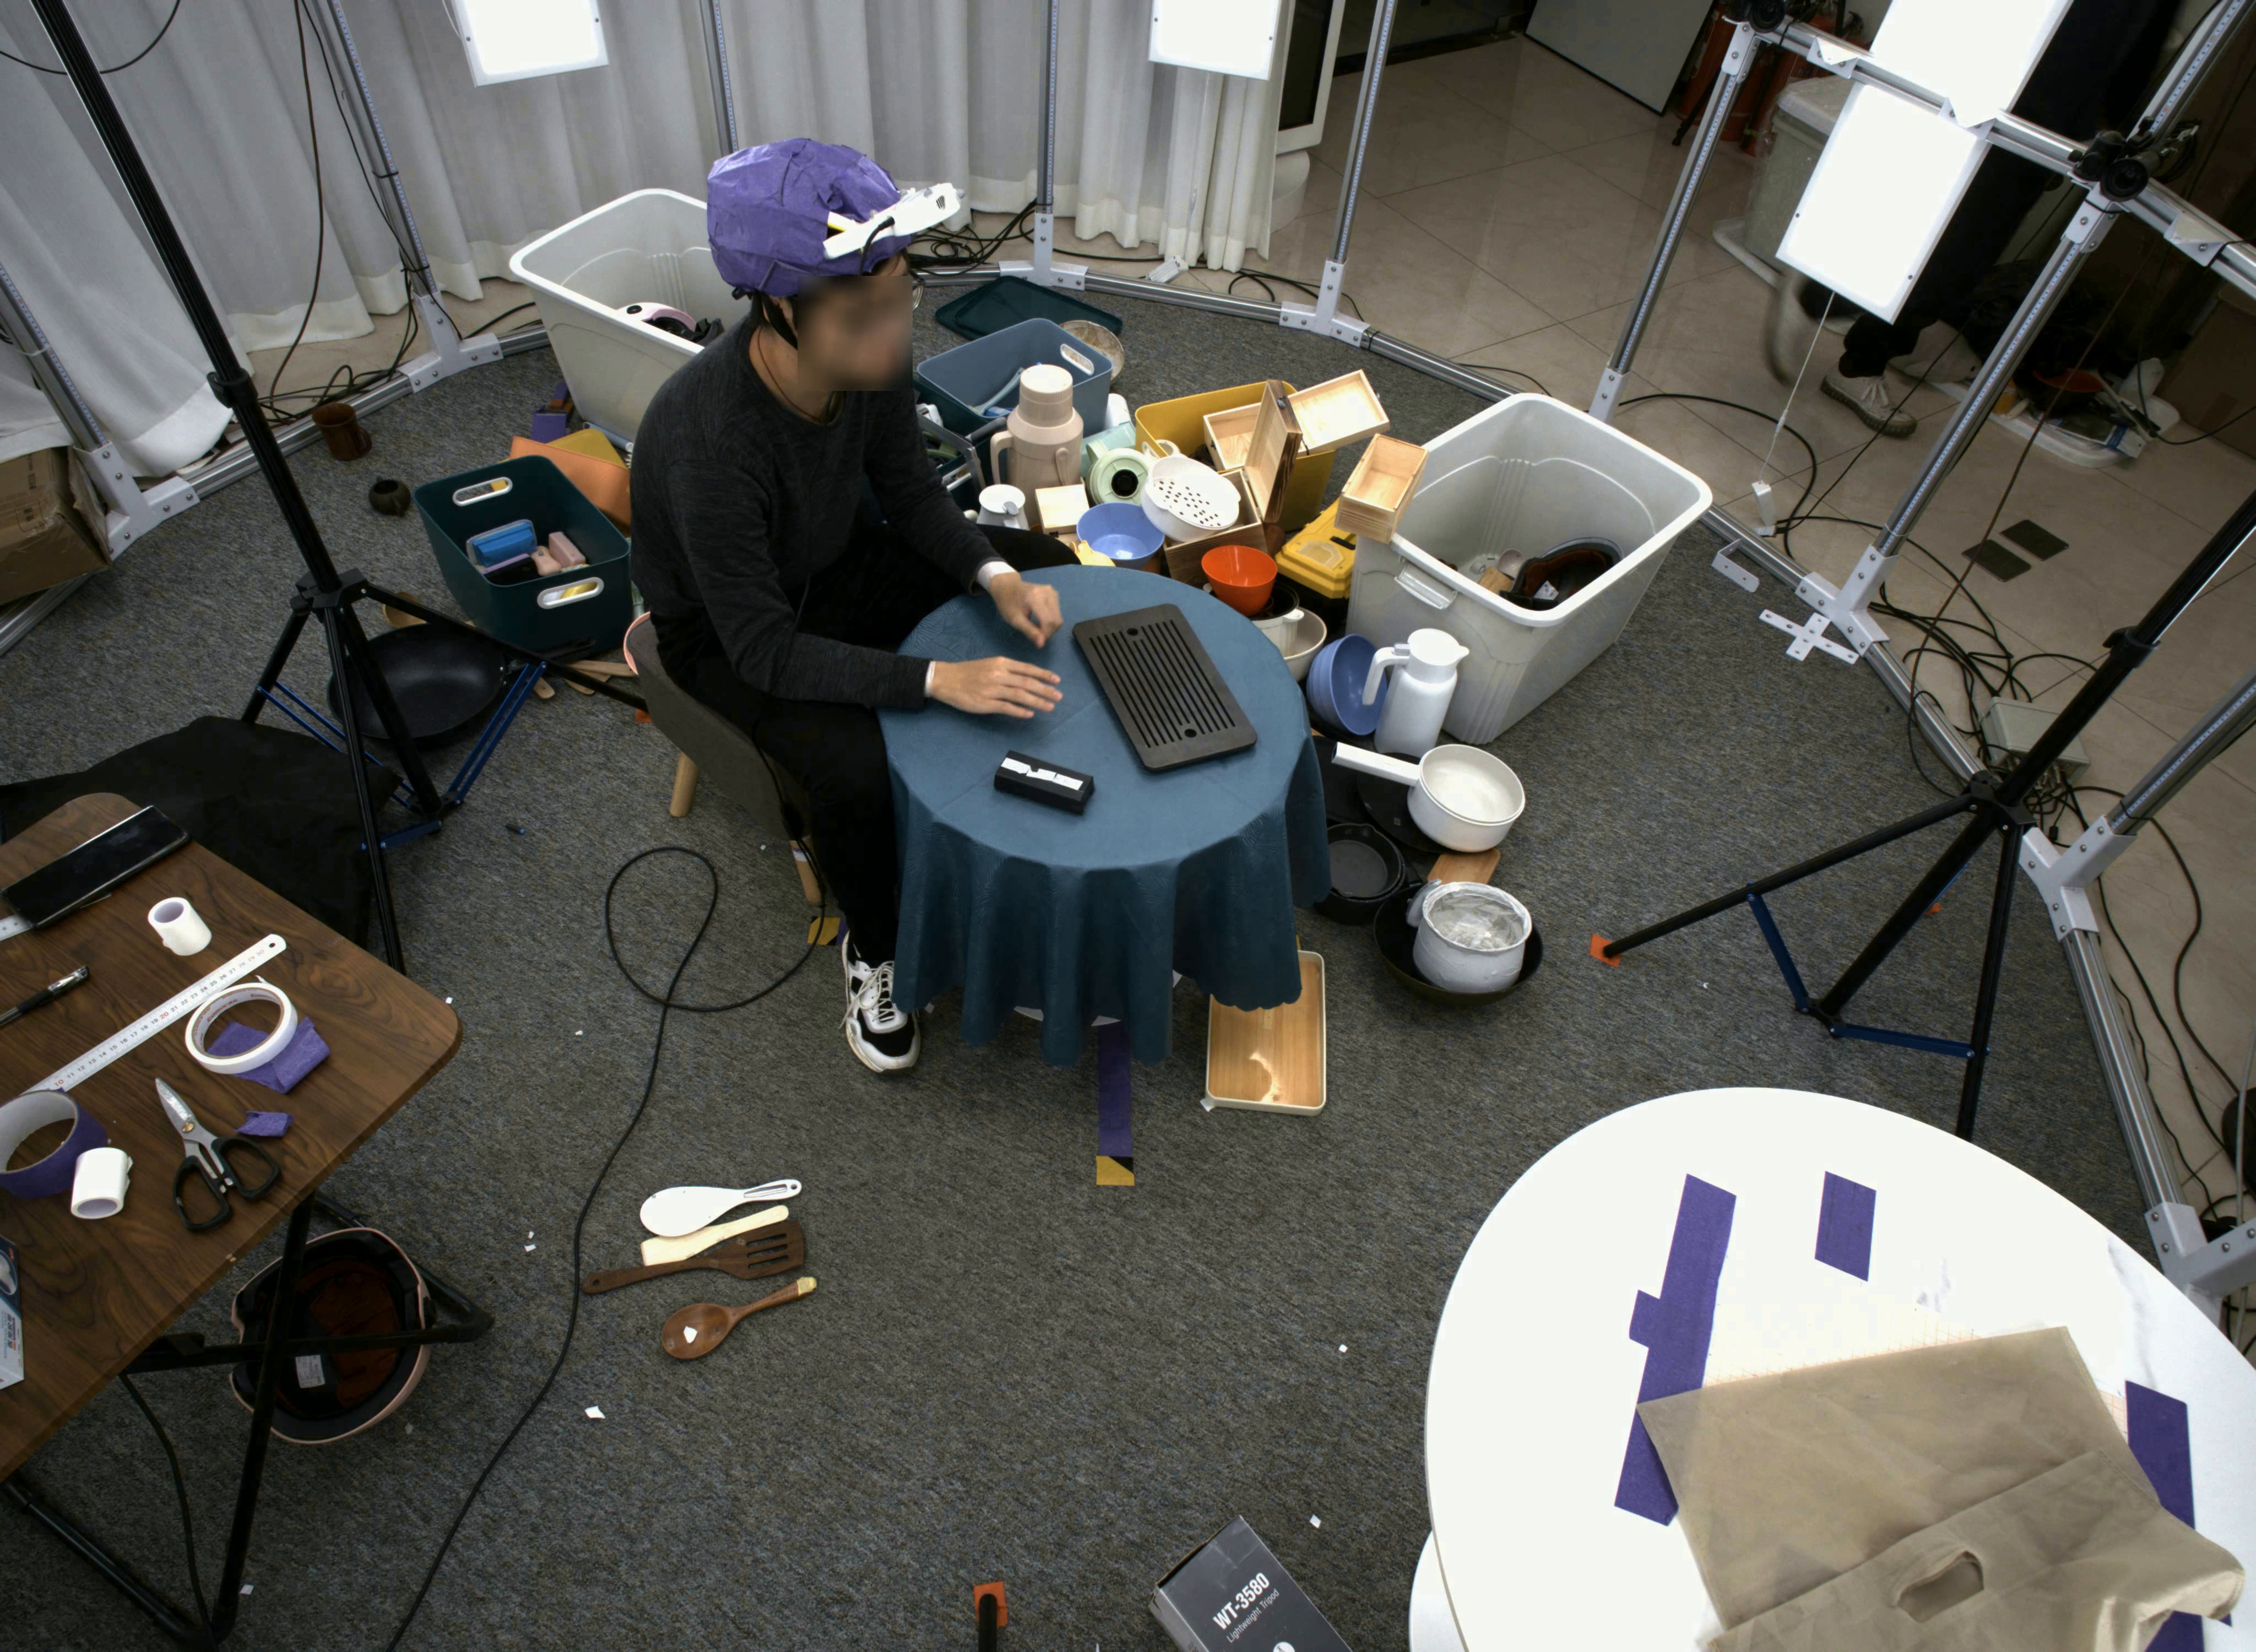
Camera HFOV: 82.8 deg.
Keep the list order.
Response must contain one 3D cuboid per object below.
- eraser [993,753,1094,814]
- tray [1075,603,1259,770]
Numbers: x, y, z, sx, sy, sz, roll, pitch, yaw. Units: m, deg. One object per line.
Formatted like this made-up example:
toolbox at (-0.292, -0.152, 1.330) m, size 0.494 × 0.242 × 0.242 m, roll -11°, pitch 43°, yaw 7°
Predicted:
eraser at (-0.111, -0.057, 1.694) m, size 0.126 × 0.030 × 0.054 m, roll 16°, pitch 47°, yaw 11°
tray at (0.052, -0.204, 1.839) m, size 0.170 × 0.018 × 0.313 m, roll -15°, pitch 52°, yaw -15°
